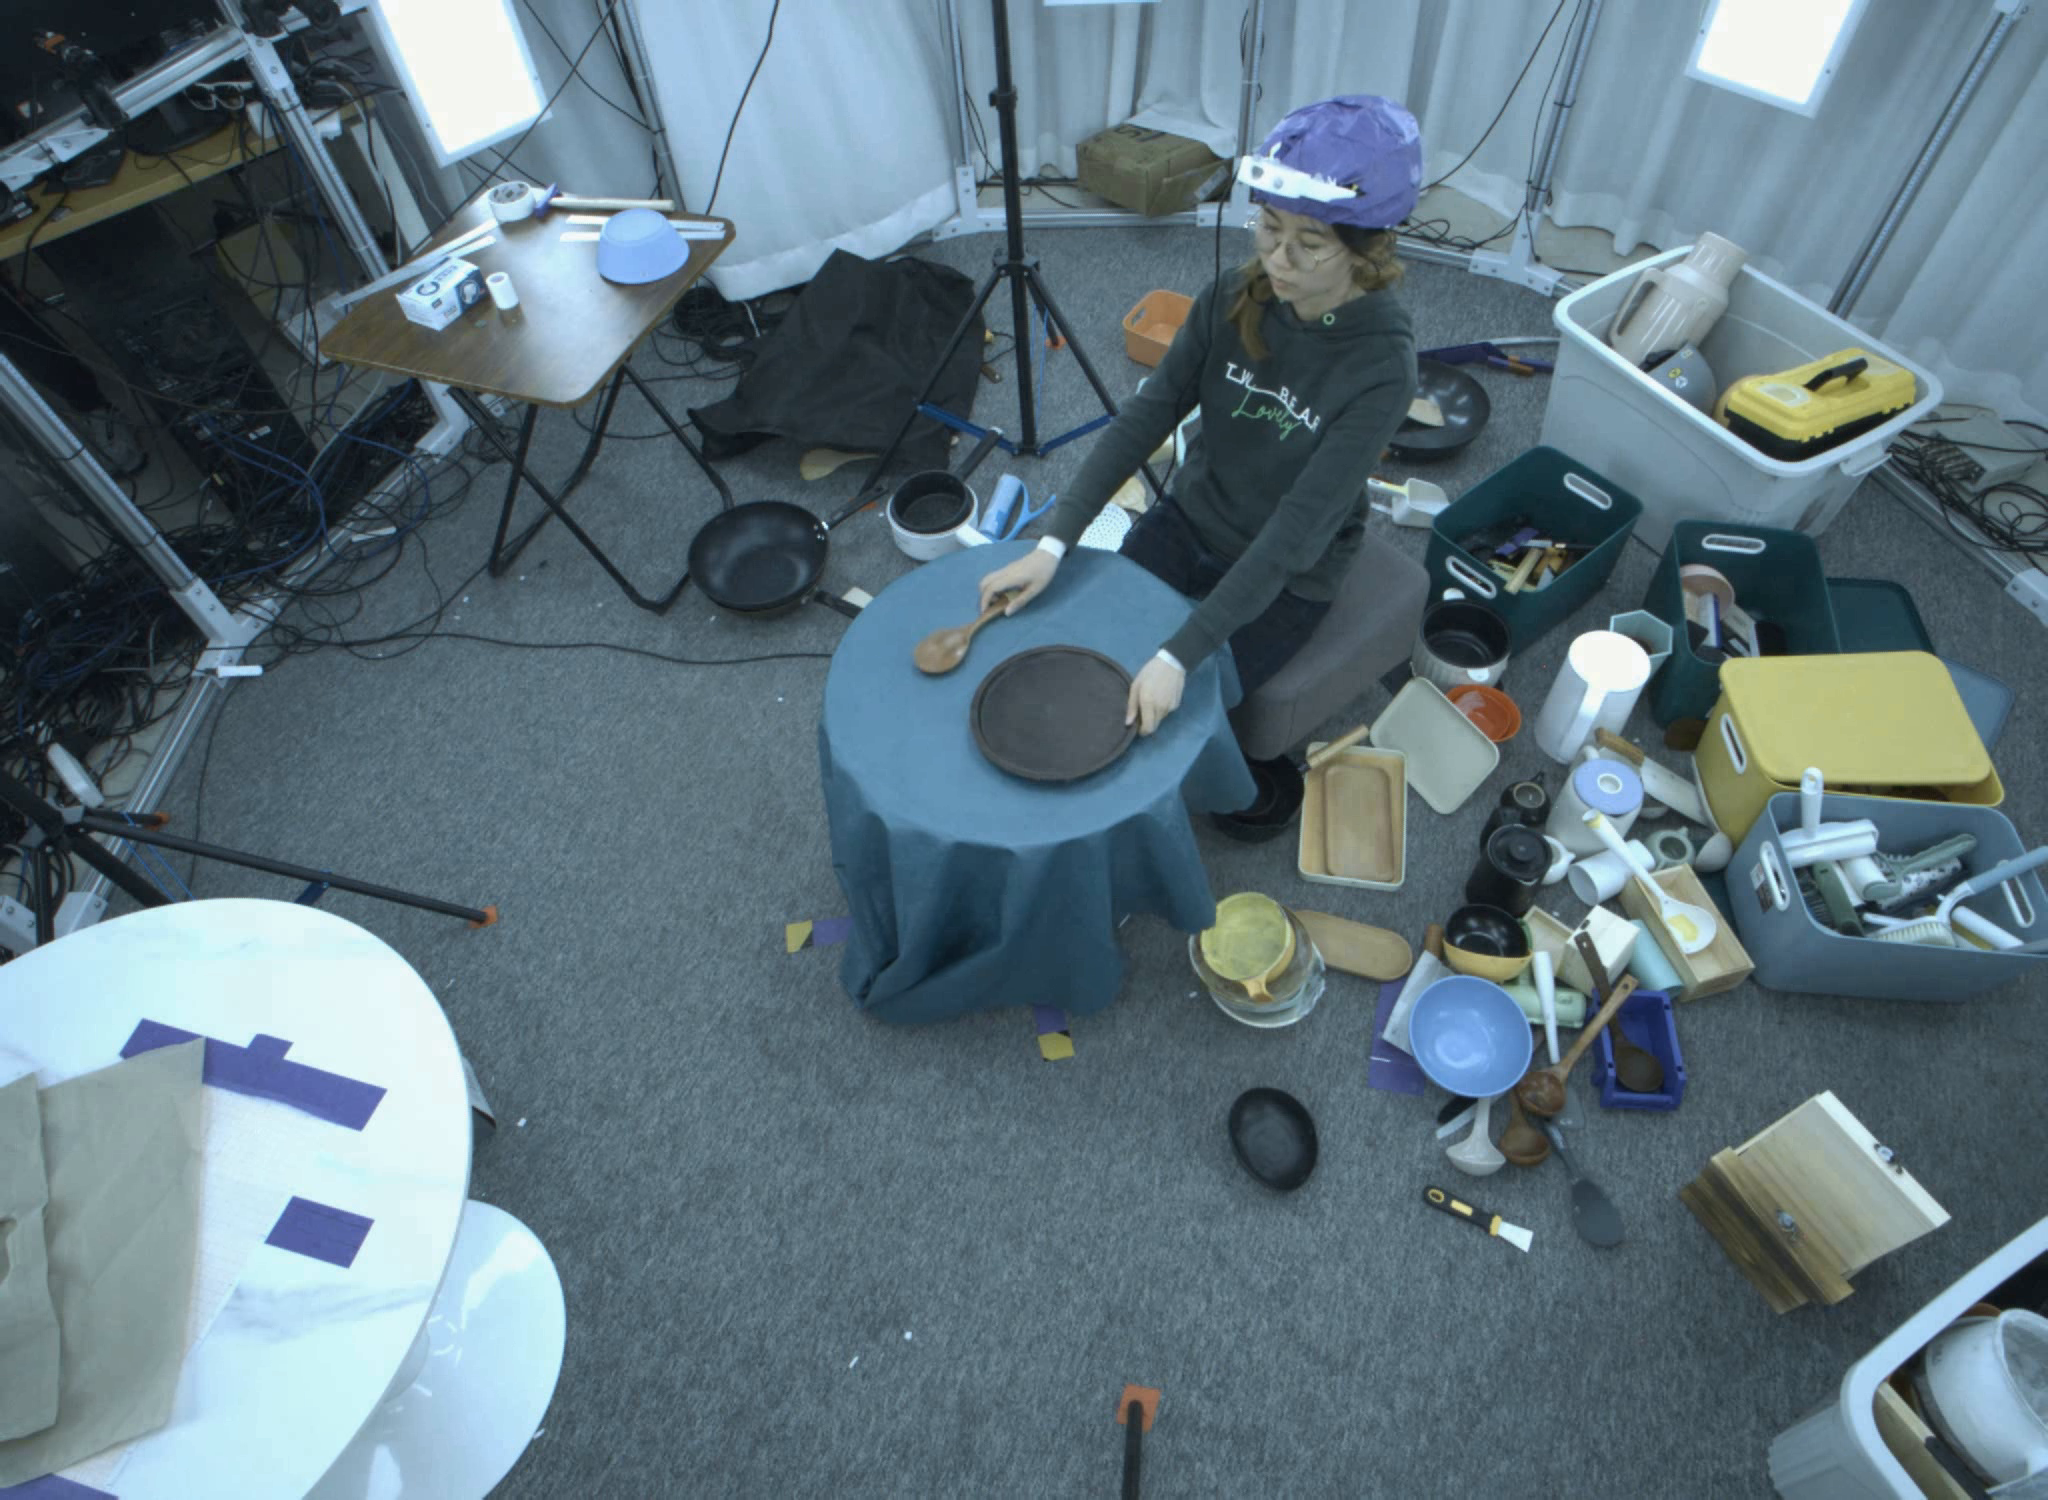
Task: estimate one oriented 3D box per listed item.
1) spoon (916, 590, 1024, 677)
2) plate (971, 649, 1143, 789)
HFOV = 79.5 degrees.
[{"bbox_3d":[-0.080,-0.183,1.917,0.074,0.017,0.217,38,65,24],"label":"spoon"},{"bbox_3d":[0.049,-0.048,1.813,0.254,0.029,0.252,-1,56,3],"label":"plate"}]
